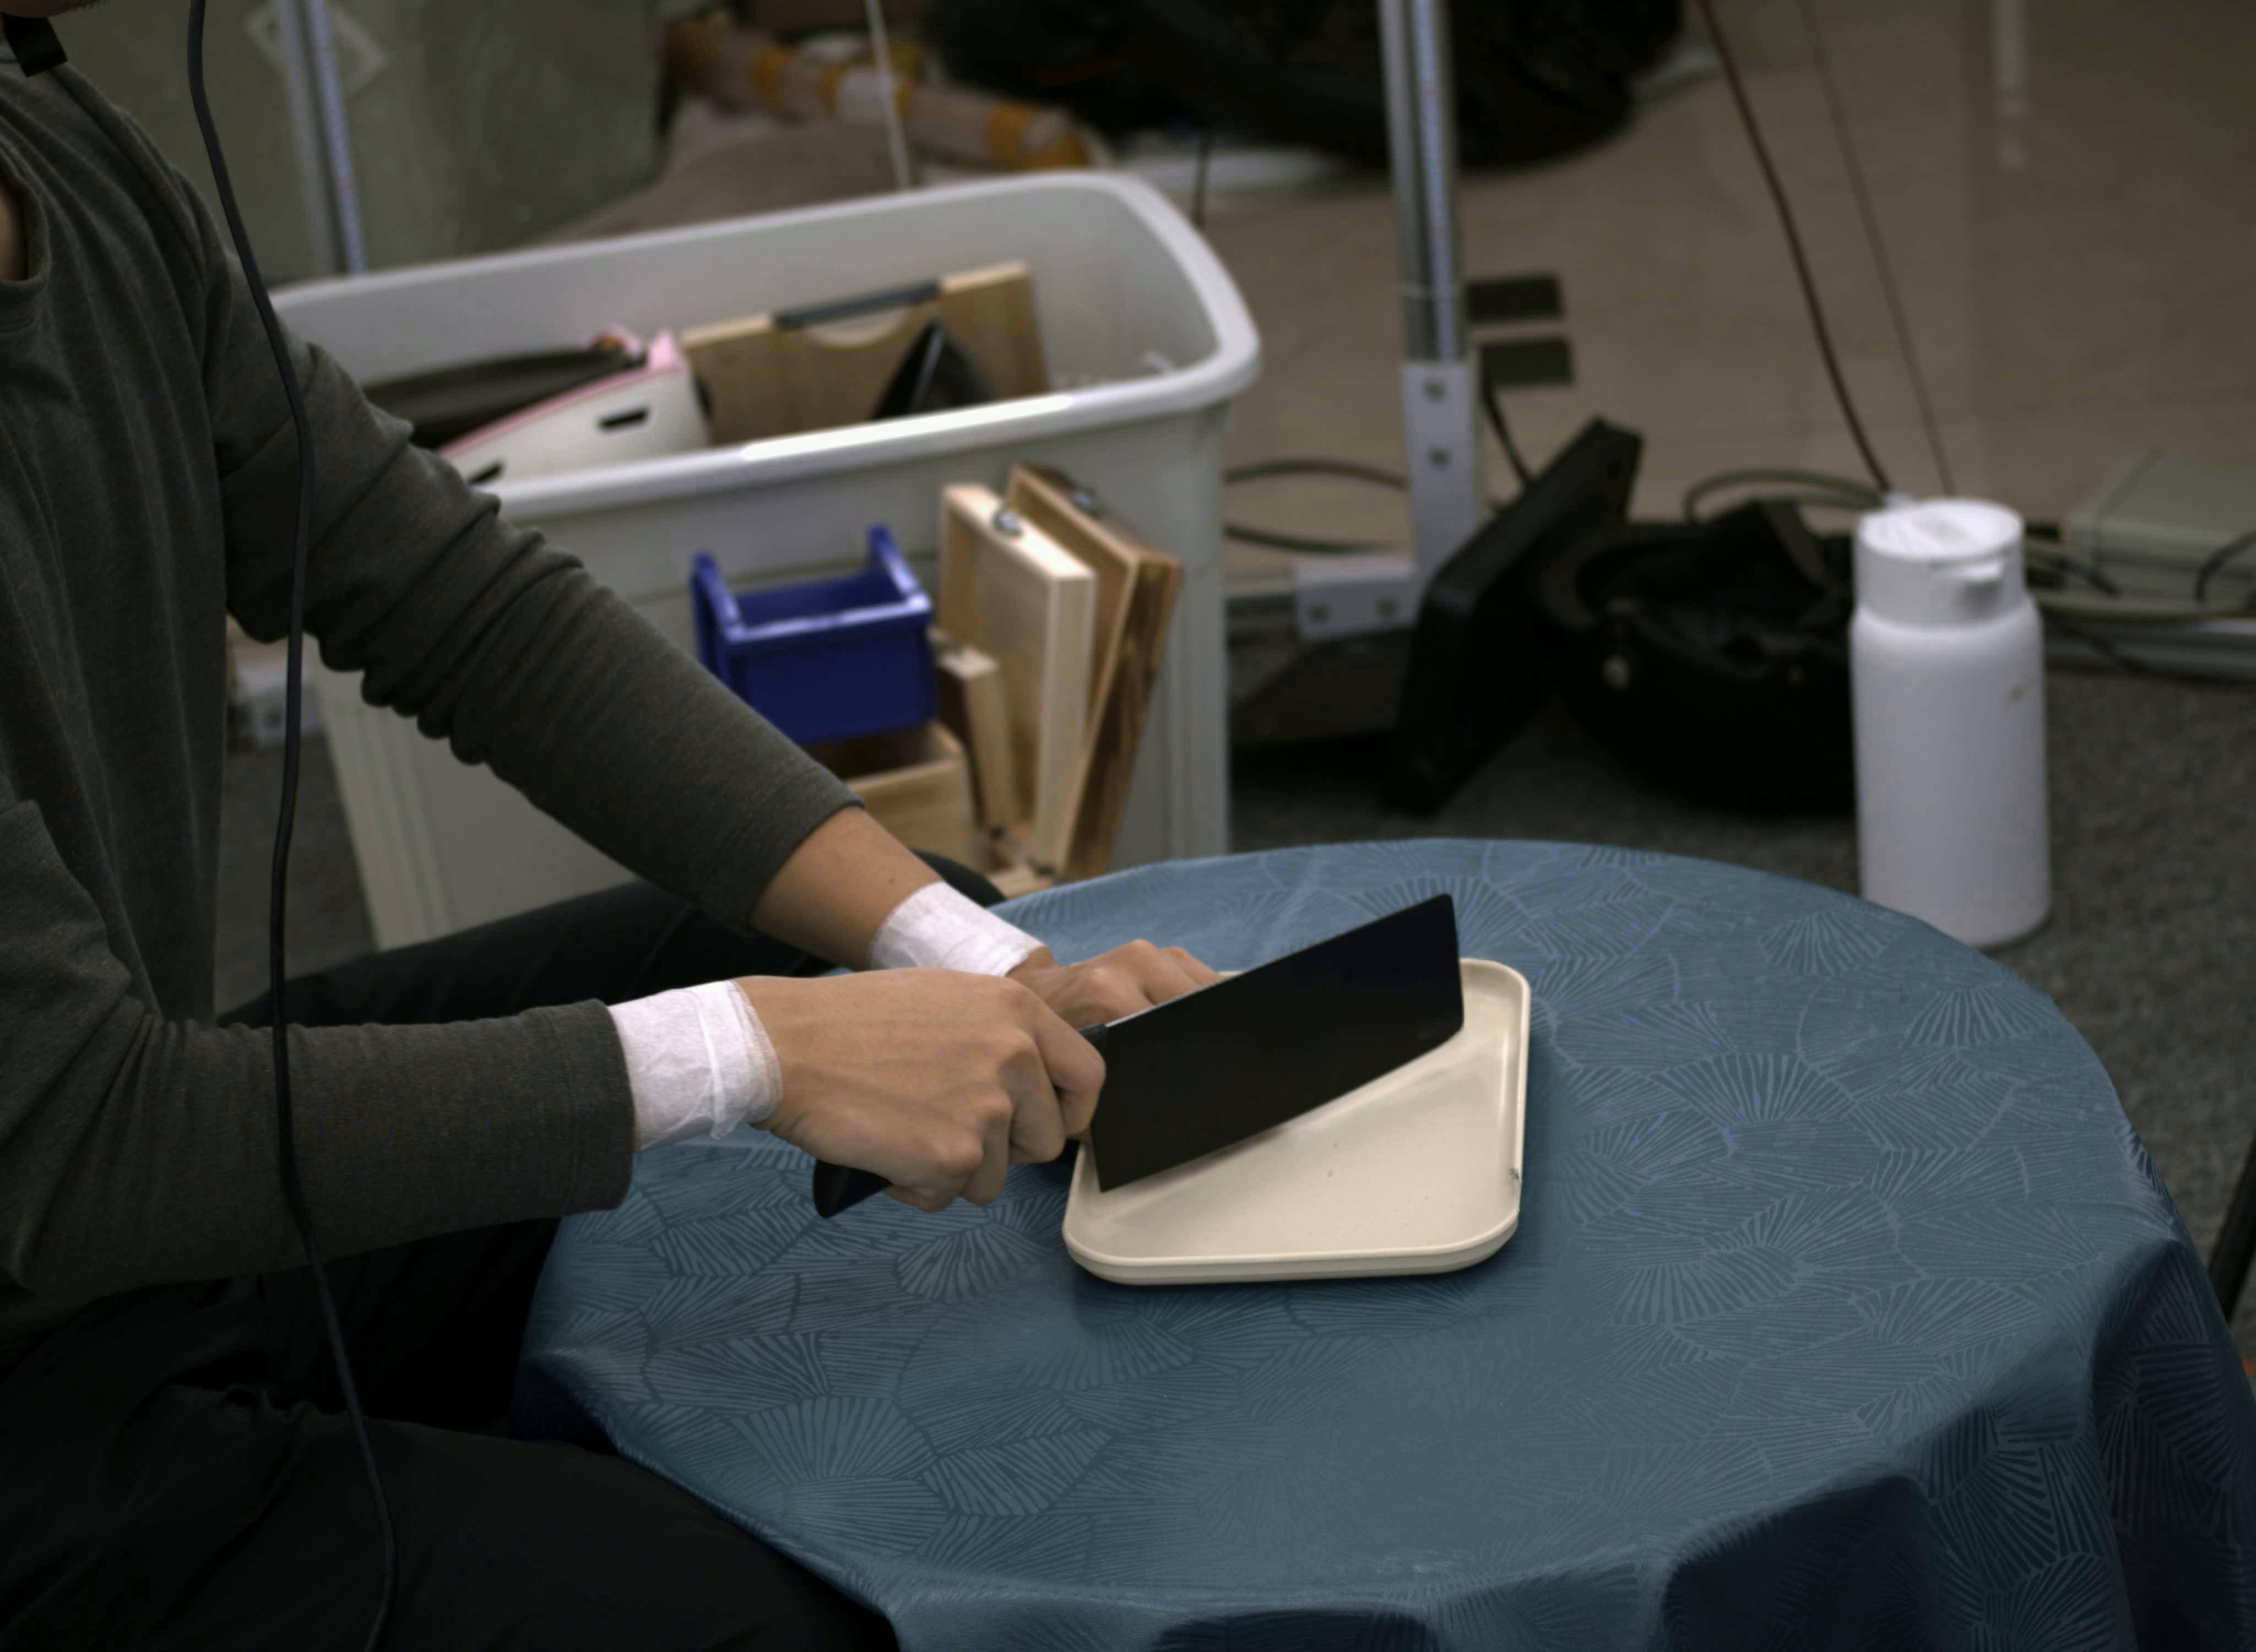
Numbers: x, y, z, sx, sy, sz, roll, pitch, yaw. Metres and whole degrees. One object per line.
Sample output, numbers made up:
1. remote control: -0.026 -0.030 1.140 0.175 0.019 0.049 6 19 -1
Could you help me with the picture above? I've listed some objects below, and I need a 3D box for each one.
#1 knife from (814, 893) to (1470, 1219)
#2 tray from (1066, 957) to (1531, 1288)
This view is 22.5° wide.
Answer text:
1. knife: 0.011 0.095 2.128 0.301 0.082 0.020 -15 22 -33
2. tray: 0.069 0.113 2.170 0.171 0.018 0.236 -4 25 8
